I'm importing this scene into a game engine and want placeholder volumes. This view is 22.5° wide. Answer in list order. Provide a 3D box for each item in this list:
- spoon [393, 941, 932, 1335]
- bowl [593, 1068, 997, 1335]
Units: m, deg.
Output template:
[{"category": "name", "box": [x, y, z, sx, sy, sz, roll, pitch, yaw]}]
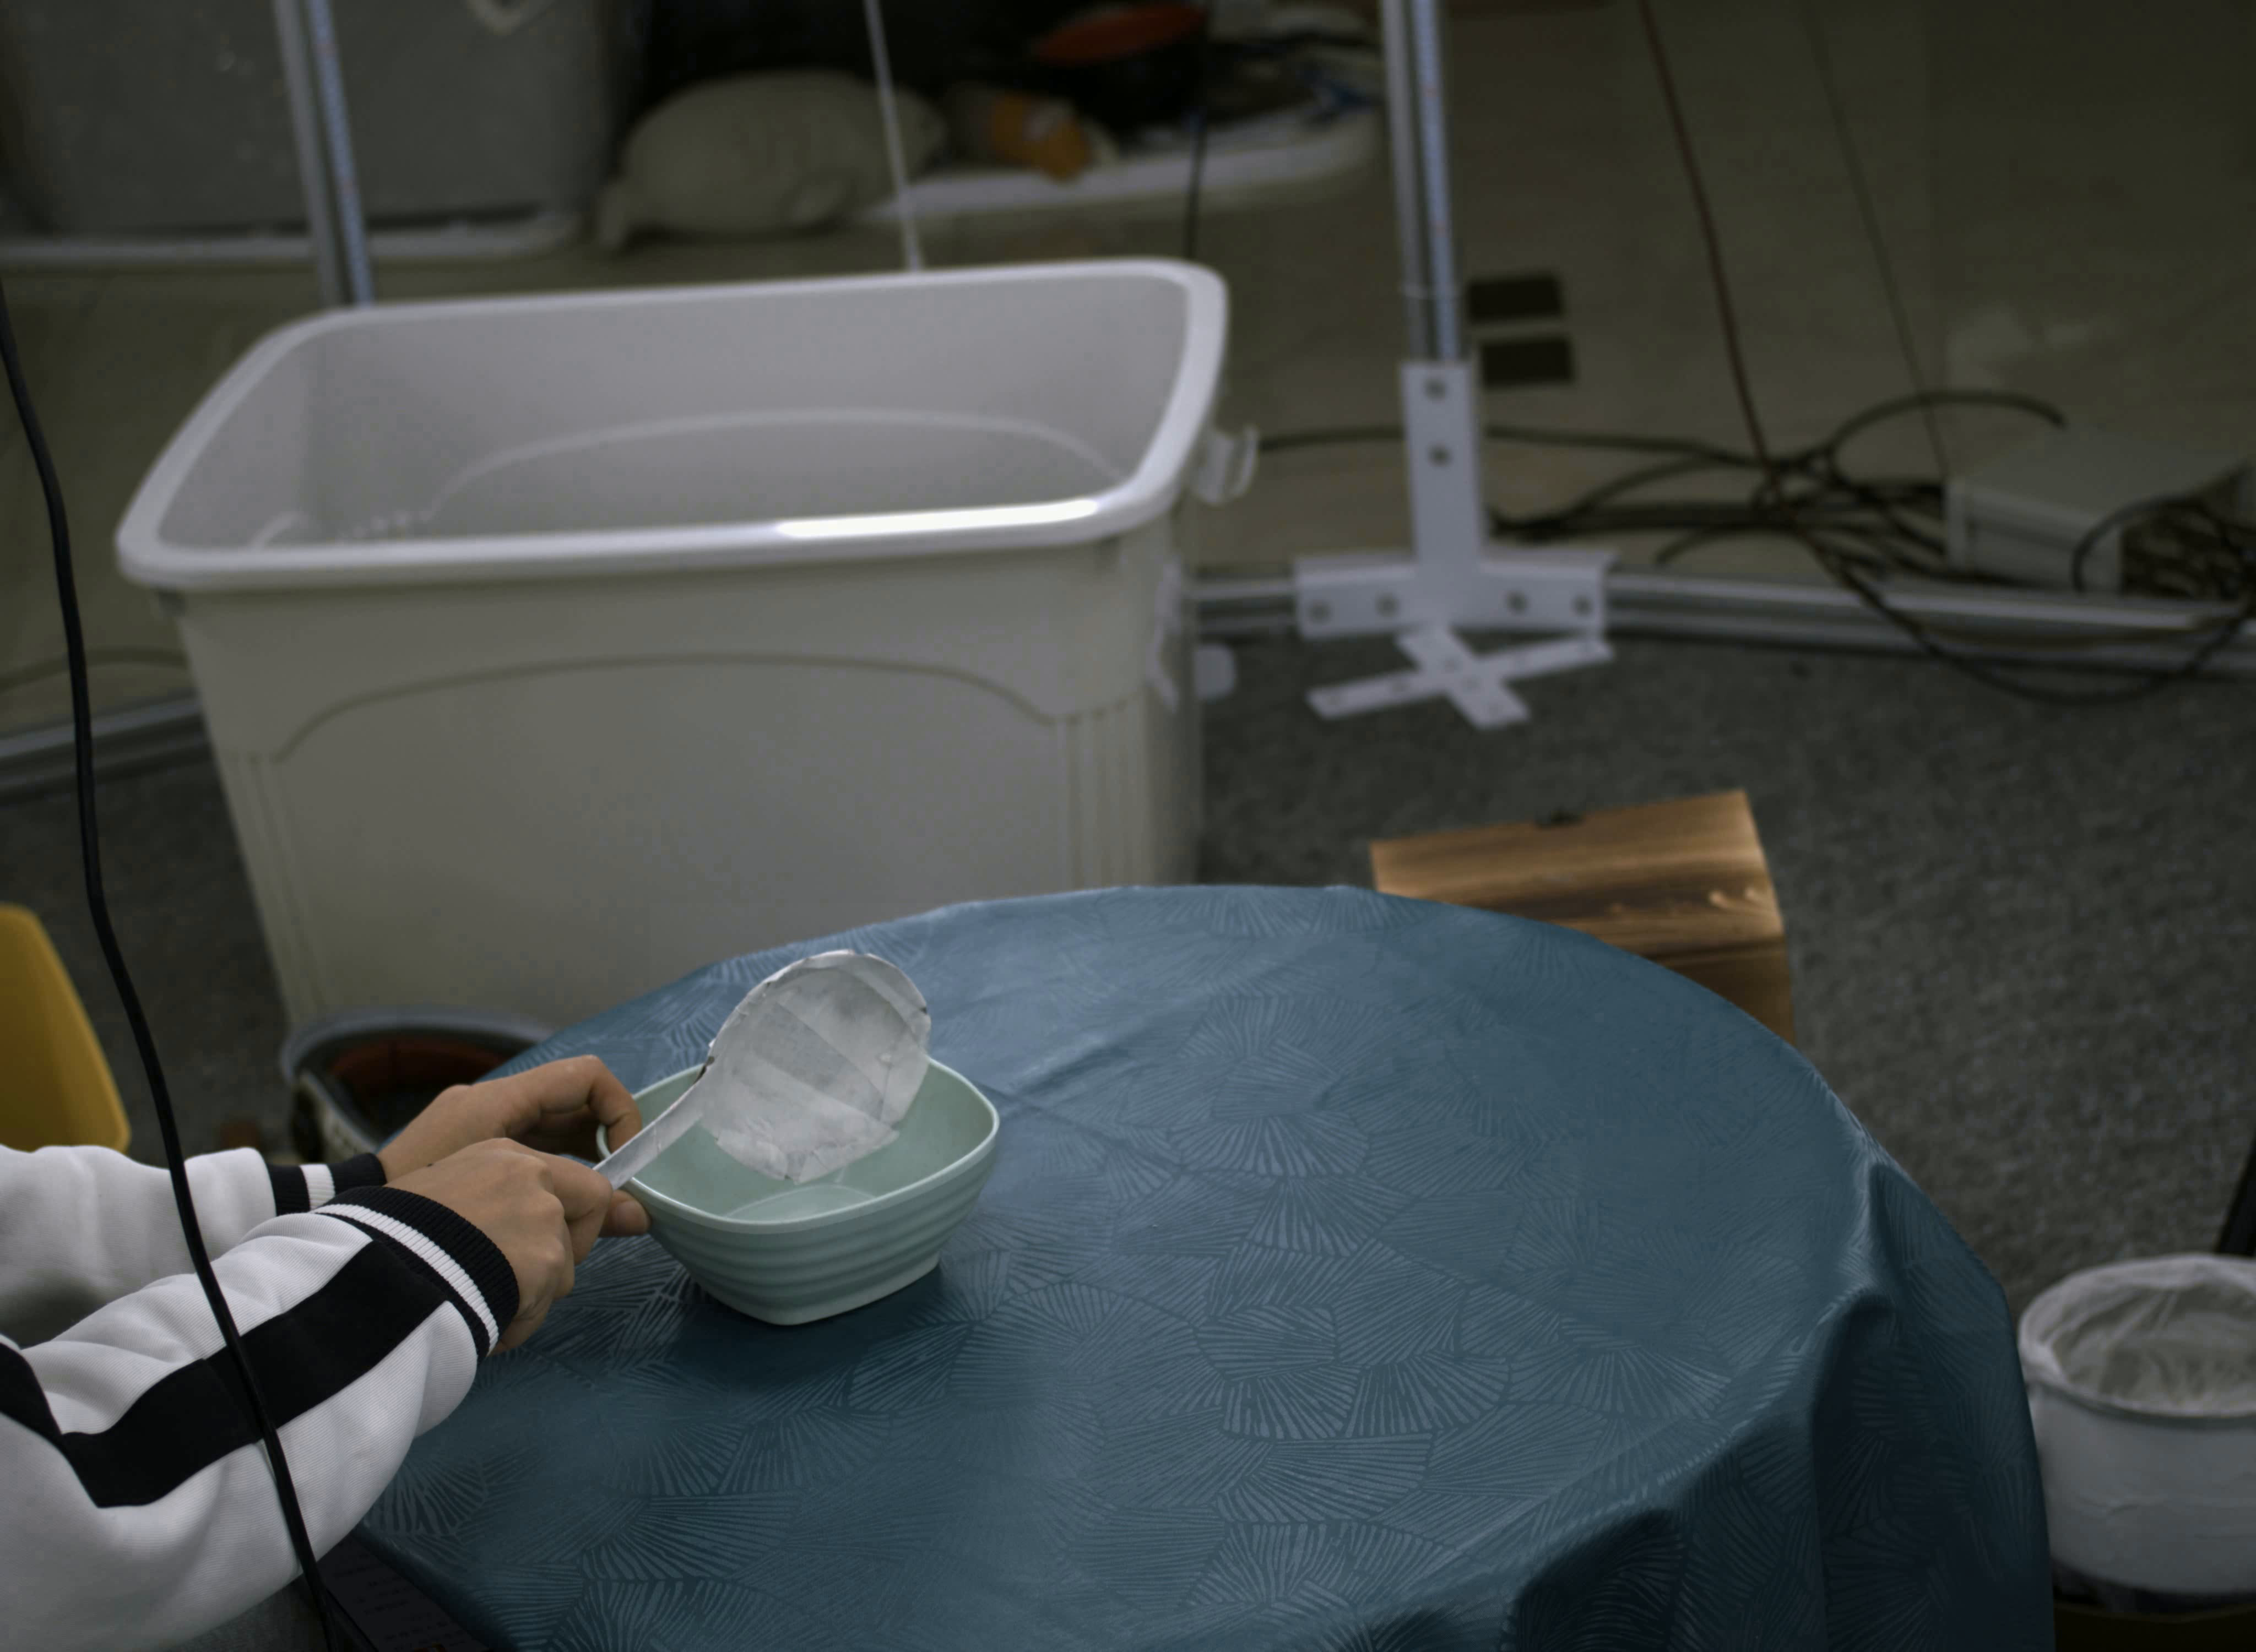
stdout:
[{"category": "spoon", "box": [-0.161, 0.119, 2.013, 0.059, 0.102, 0.274, 10, 25, 26]}, {"category": "bowl", "box": [-0.122, 0.141, 2.109, 0.151, 0.059, 0.149, -4, 24, 2]}]
